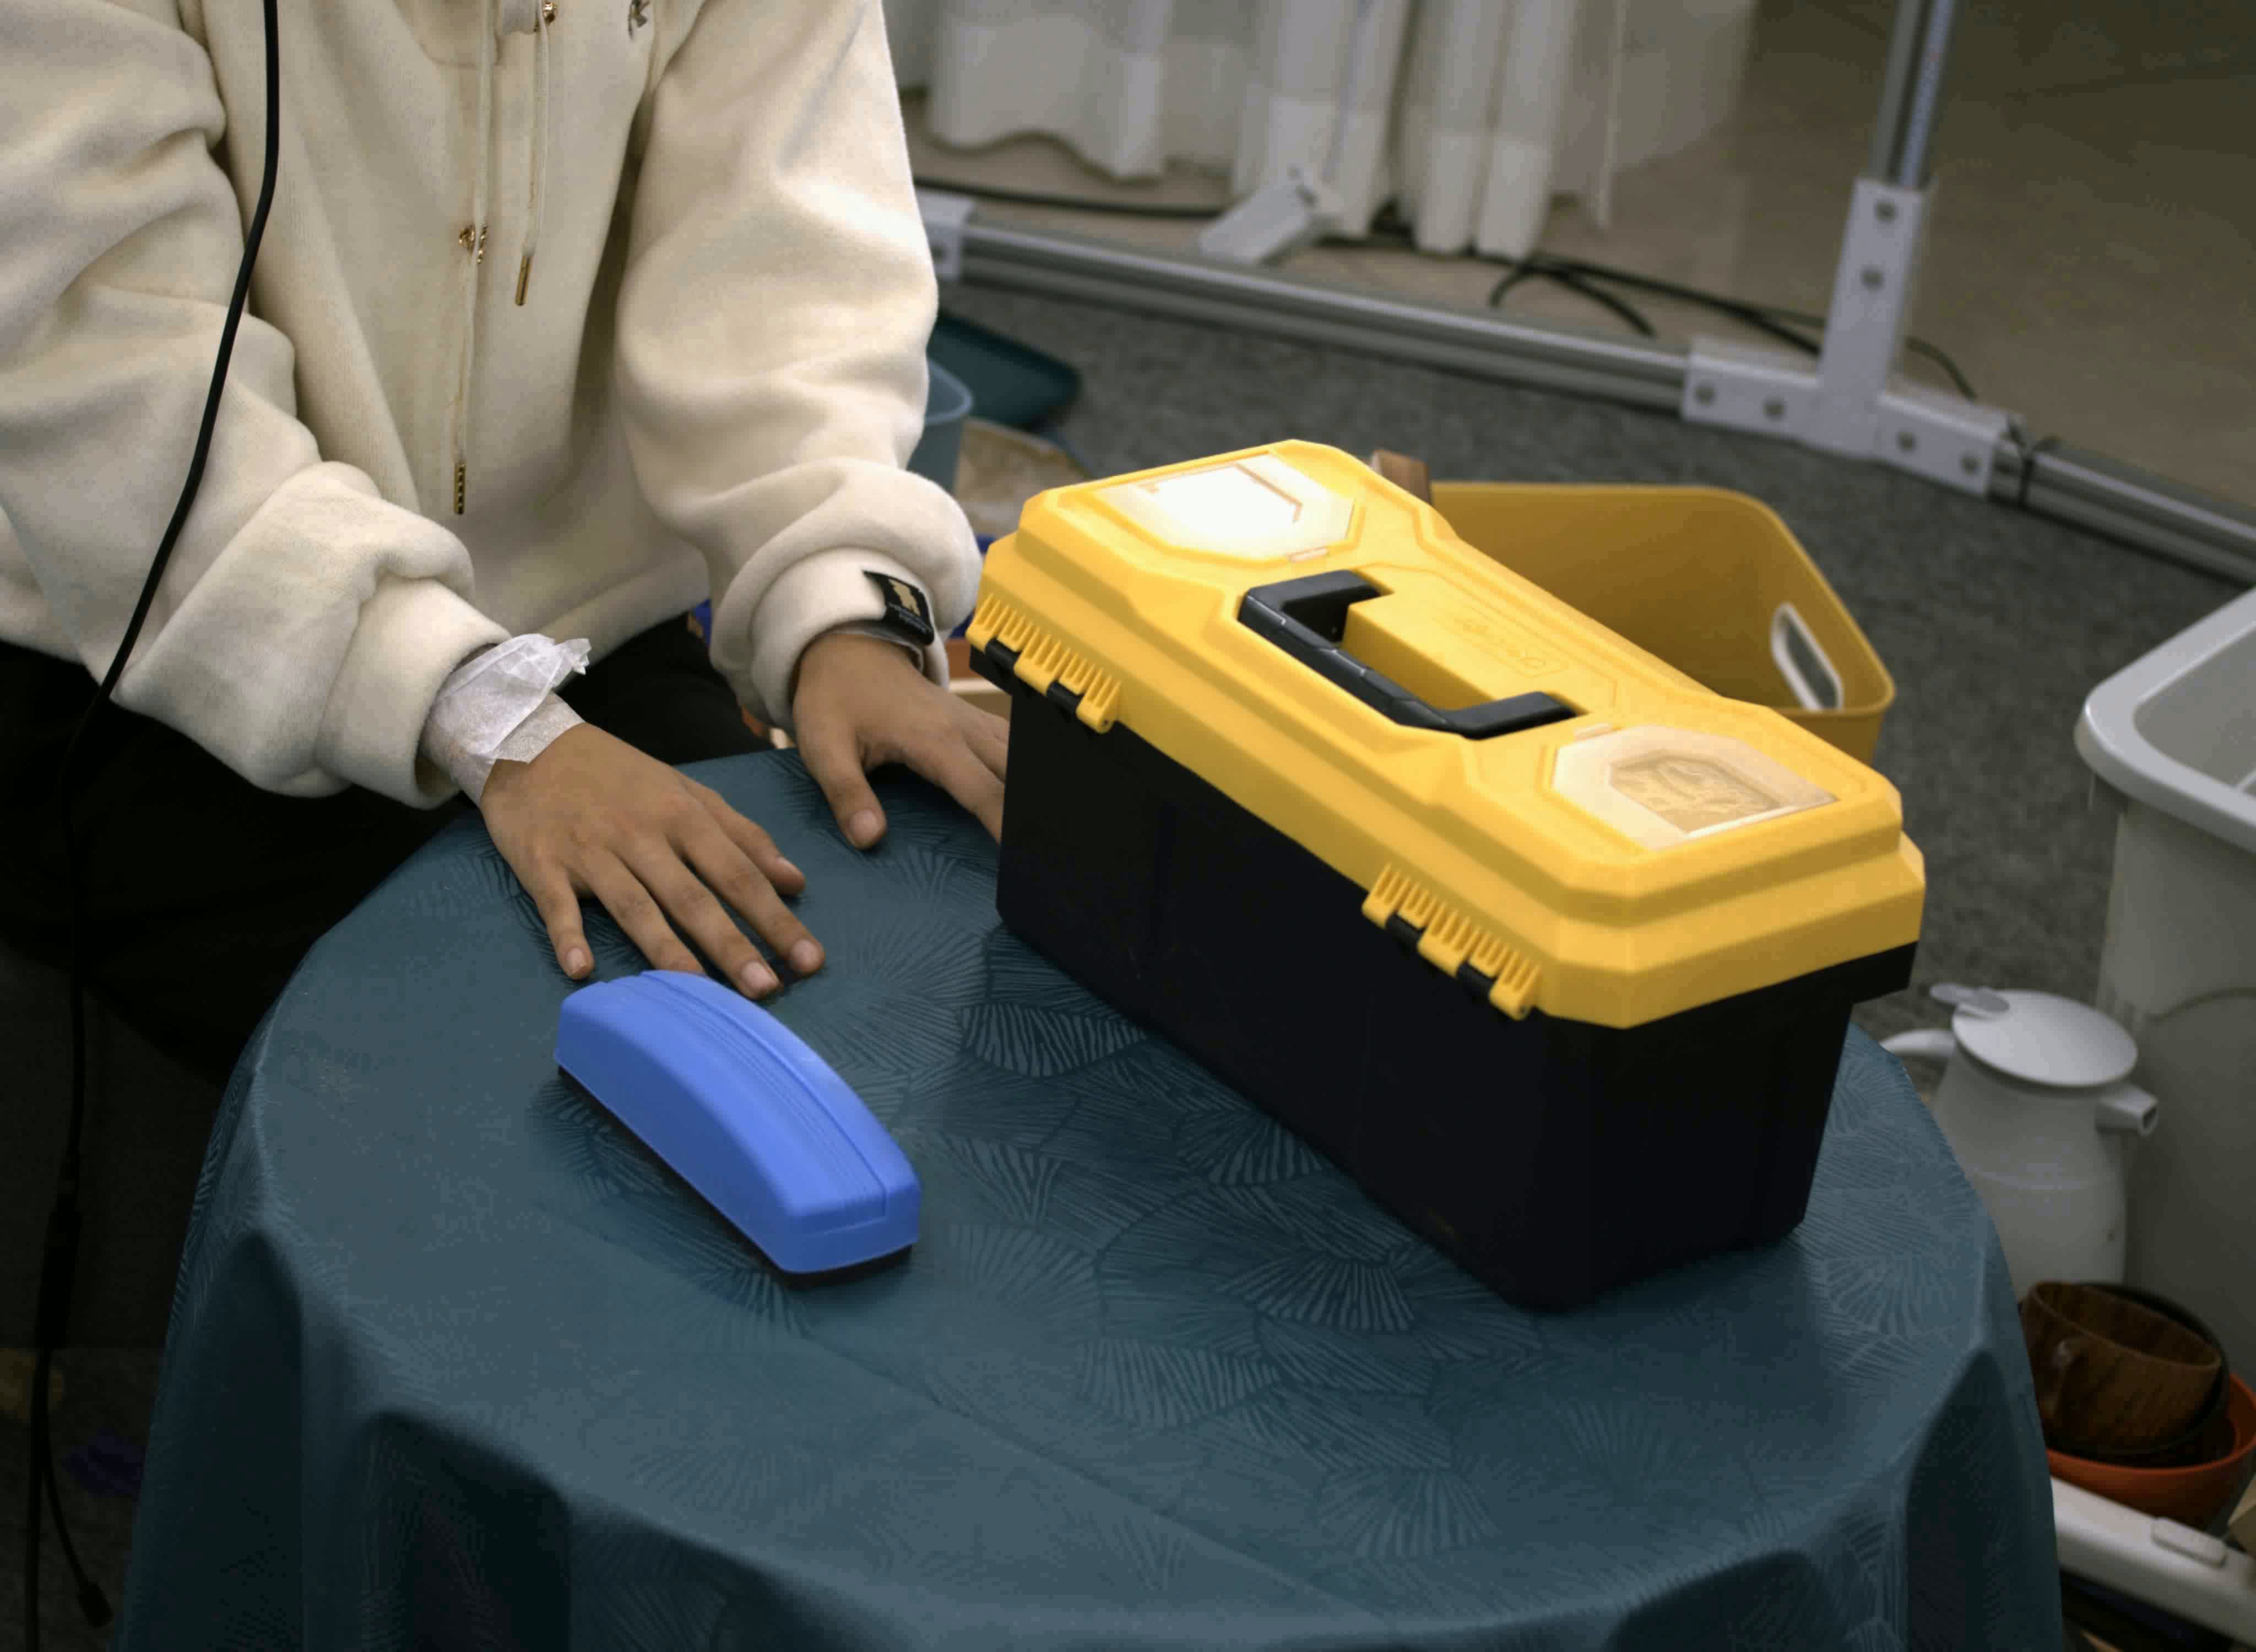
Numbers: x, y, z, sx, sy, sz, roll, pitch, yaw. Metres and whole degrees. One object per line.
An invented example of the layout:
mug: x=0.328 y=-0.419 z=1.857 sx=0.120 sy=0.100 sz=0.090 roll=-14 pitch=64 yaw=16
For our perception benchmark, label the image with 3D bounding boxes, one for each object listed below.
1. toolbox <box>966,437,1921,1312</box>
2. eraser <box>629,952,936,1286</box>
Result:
toolbox: x=0.100 y=0.010 z=1.857 sx=0.180 sy=0.172 sz=0.354 roll=-14 pitch=33 yaw=-34
eraser: x=-0.117 y=0.092 z=1.781 sx=0.053 sy=0.047 sz=0.164 roll=-8 pitch=32 yaw=-24
